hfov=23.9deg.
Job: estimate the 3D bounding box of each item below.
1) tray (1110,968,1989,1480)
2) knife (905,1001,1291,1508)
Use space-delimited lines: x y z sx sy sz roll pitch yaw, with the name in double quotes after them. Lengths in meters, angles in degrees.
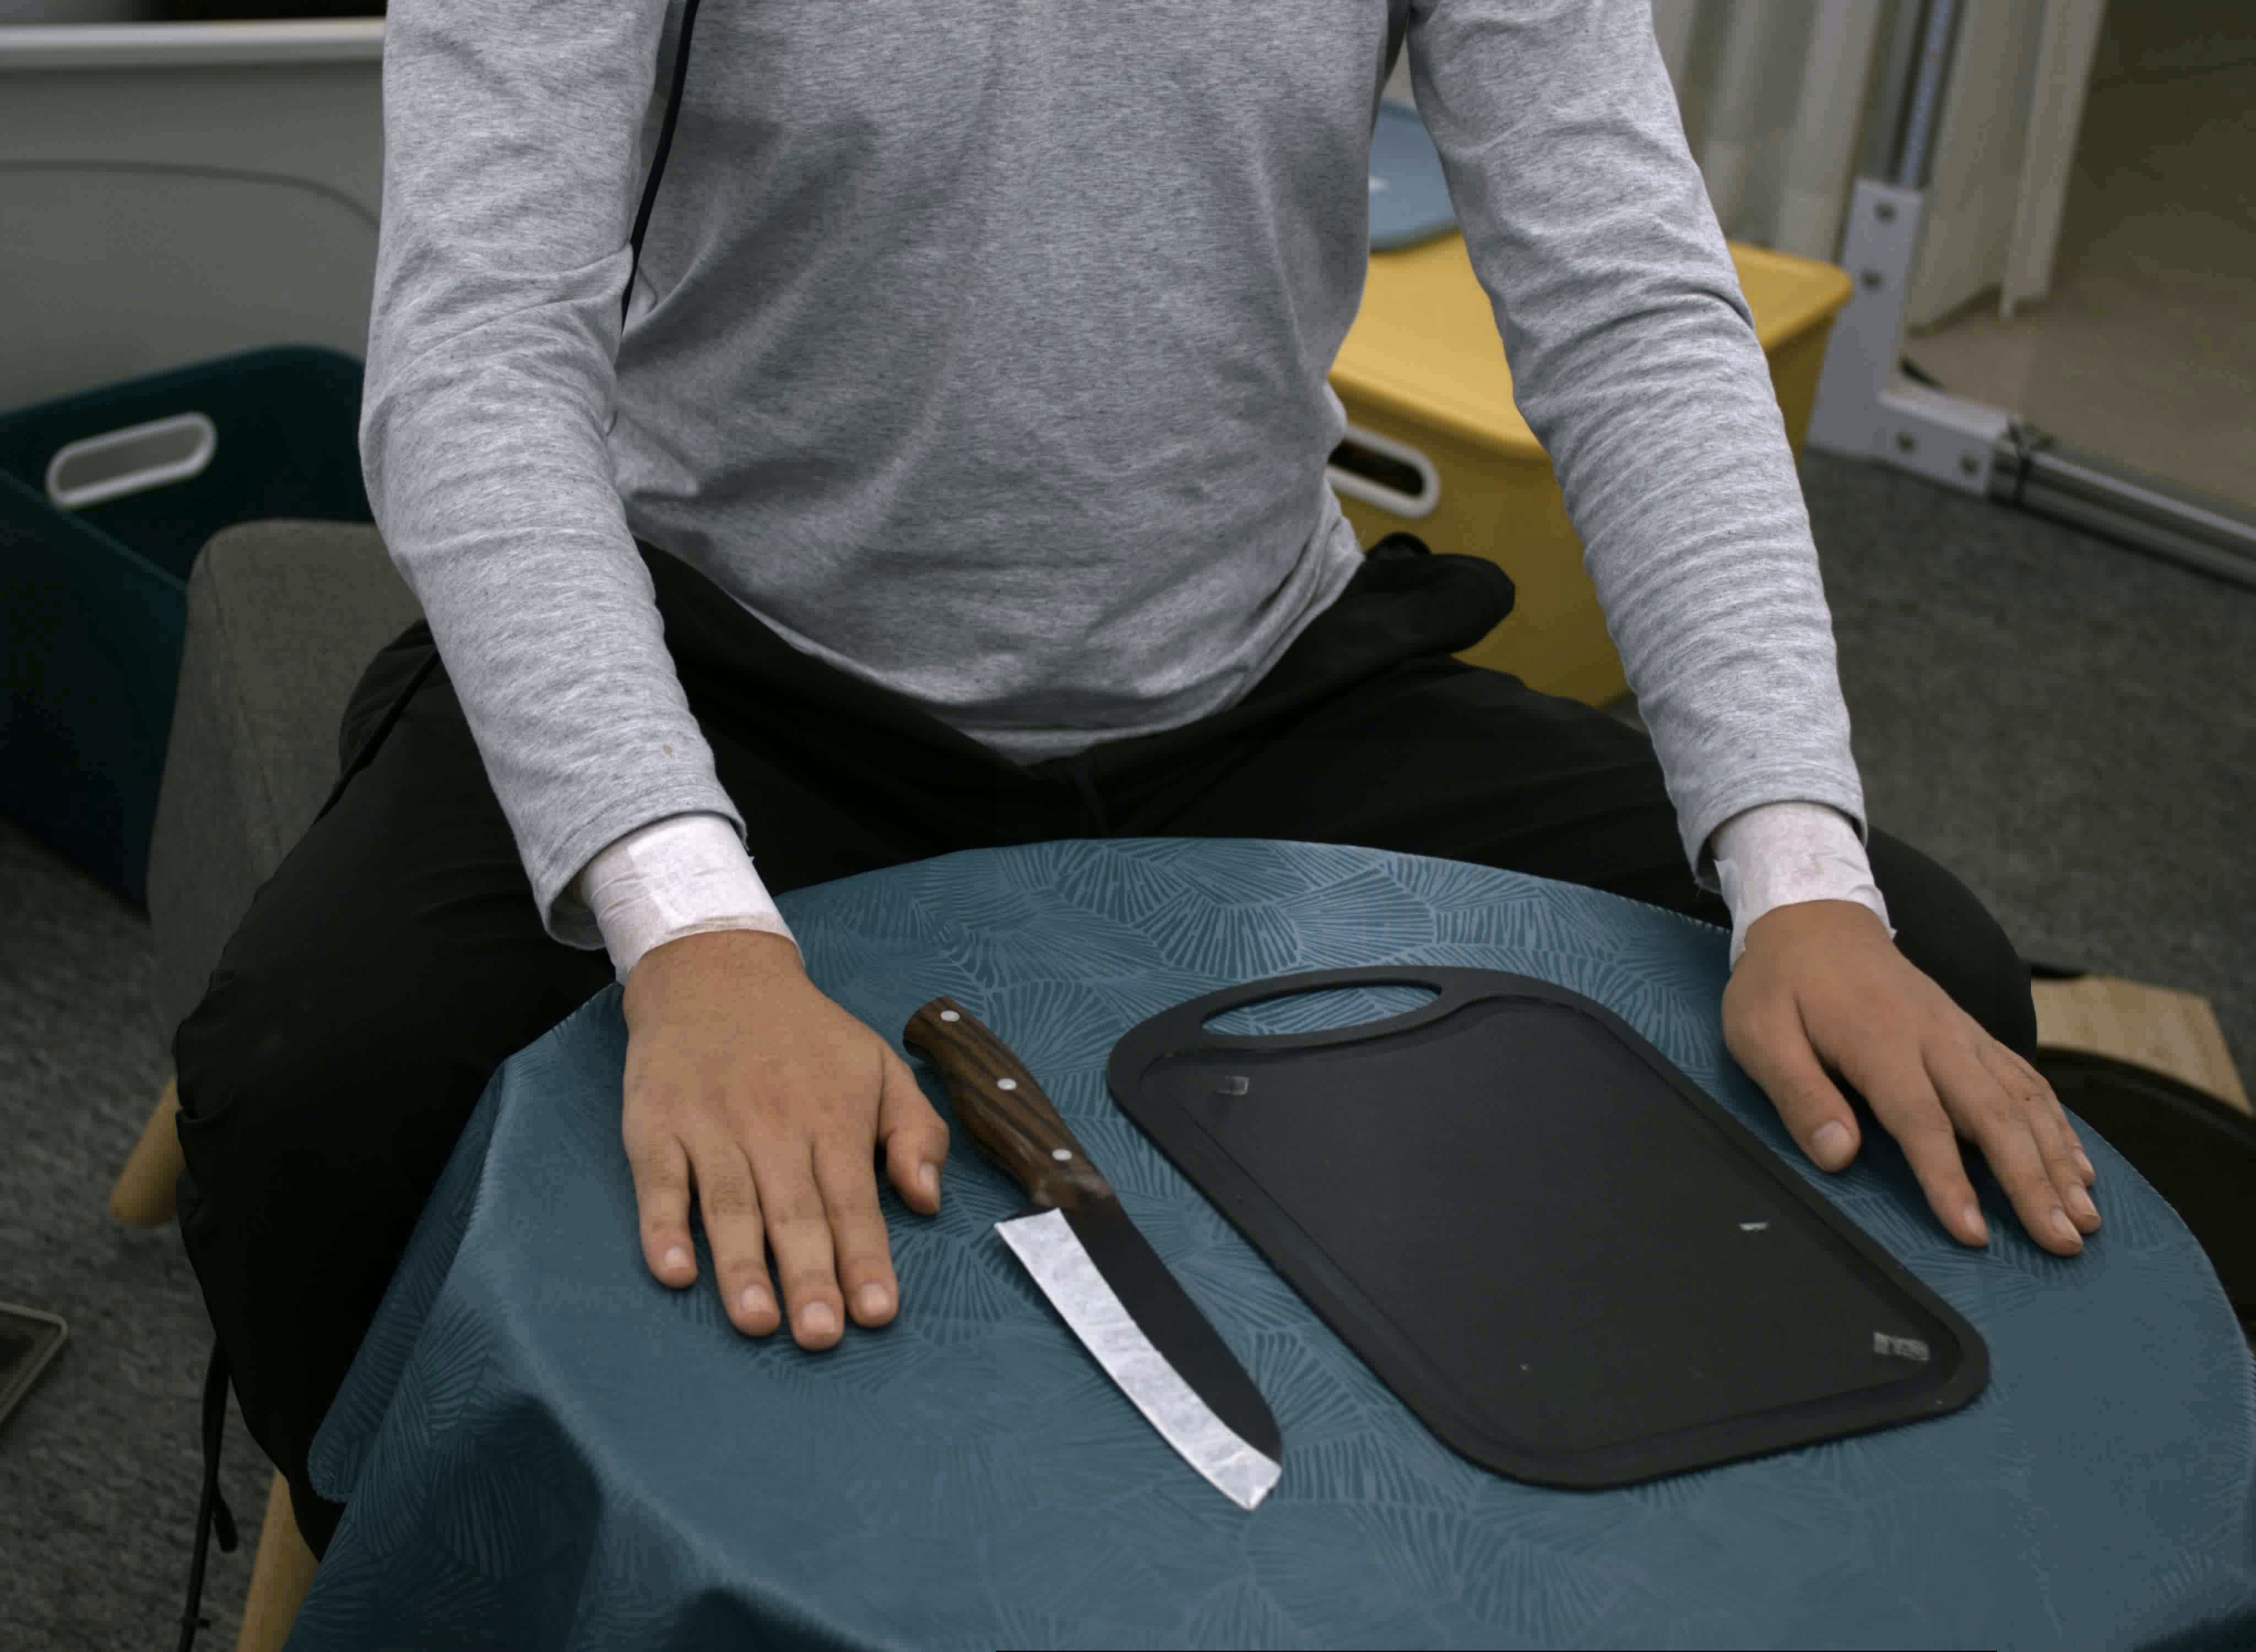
0.135 0.127 1.824 0.210 0.010 0.328 -8 30 -27 "tray"
-0.013 0.139 1.756 0.050 0.020 0.292 -10 33 -20 "knife"
